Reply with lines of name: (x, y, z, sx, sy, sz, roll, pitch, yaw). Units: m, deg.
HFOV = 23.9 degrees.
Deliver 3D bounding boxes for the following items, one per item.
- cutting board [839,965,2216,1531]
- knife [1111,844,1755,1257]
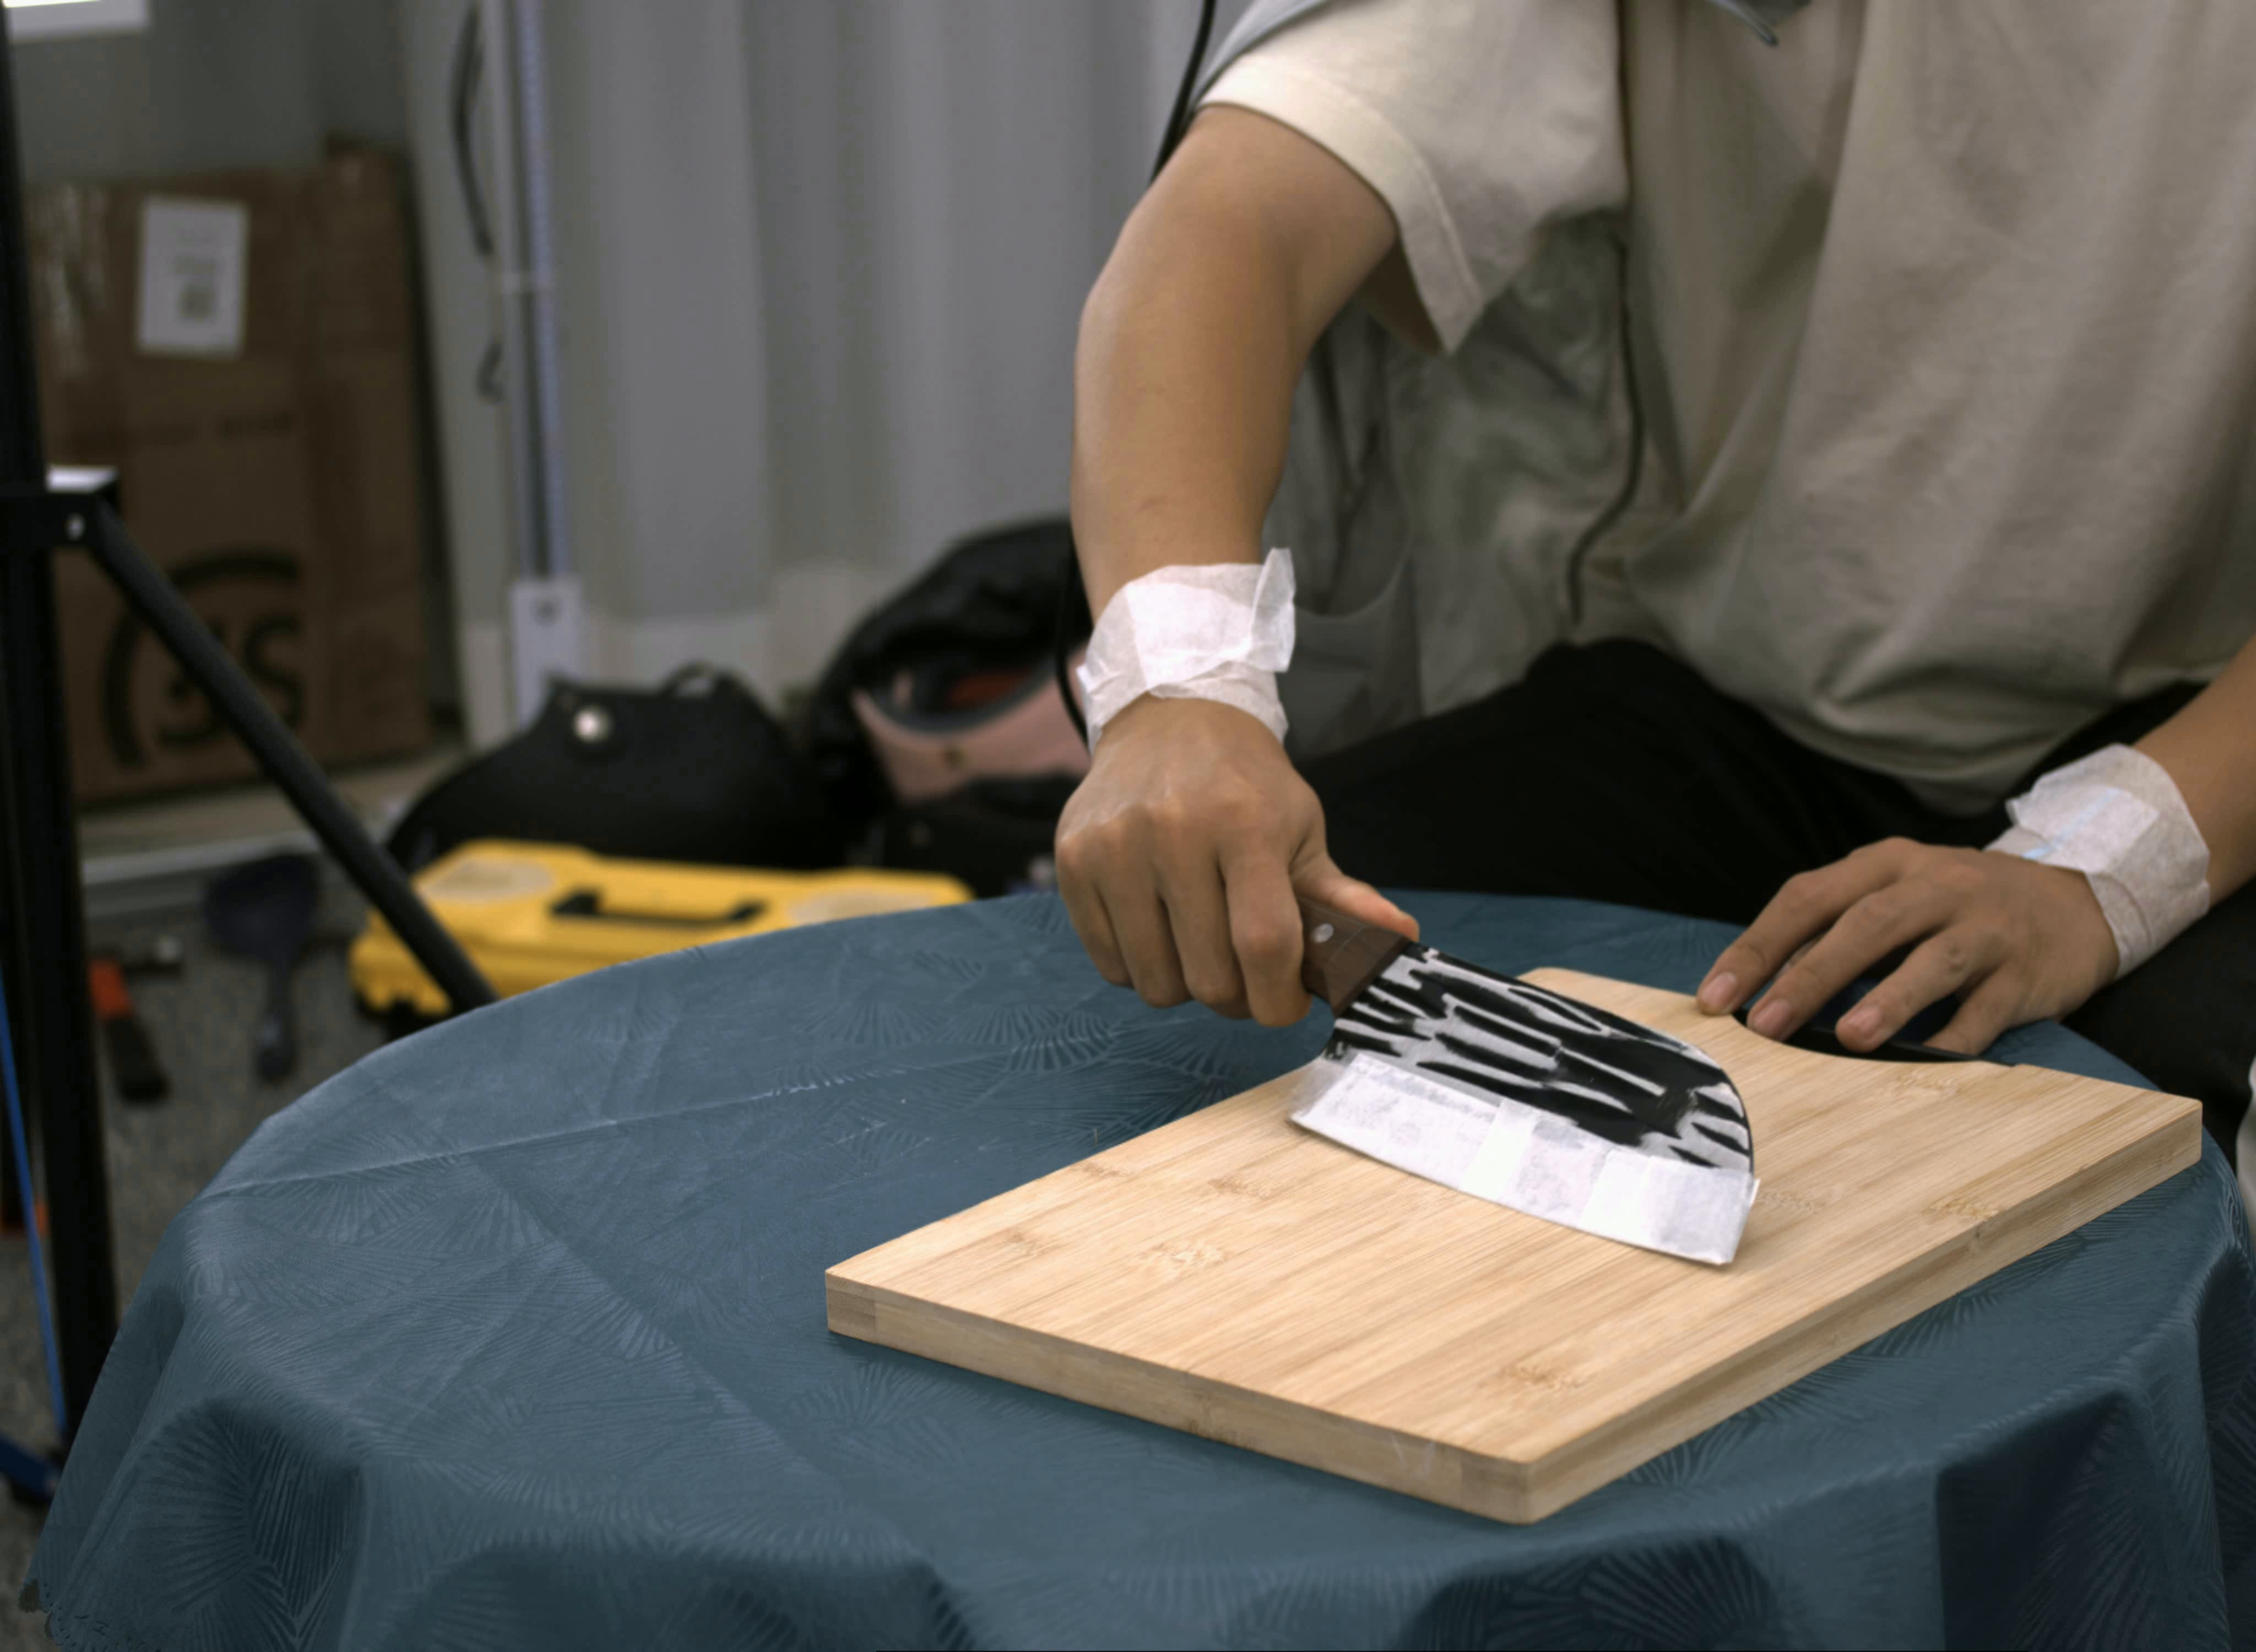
cutting board: (0.120, 0.109, 1.501, 0.256, 0.023, 0.341, 11, 20, 39)
knife: (0.081, 0.064, 1.542, 0.306, 0.023, 0.068, 21, 68, 49)
